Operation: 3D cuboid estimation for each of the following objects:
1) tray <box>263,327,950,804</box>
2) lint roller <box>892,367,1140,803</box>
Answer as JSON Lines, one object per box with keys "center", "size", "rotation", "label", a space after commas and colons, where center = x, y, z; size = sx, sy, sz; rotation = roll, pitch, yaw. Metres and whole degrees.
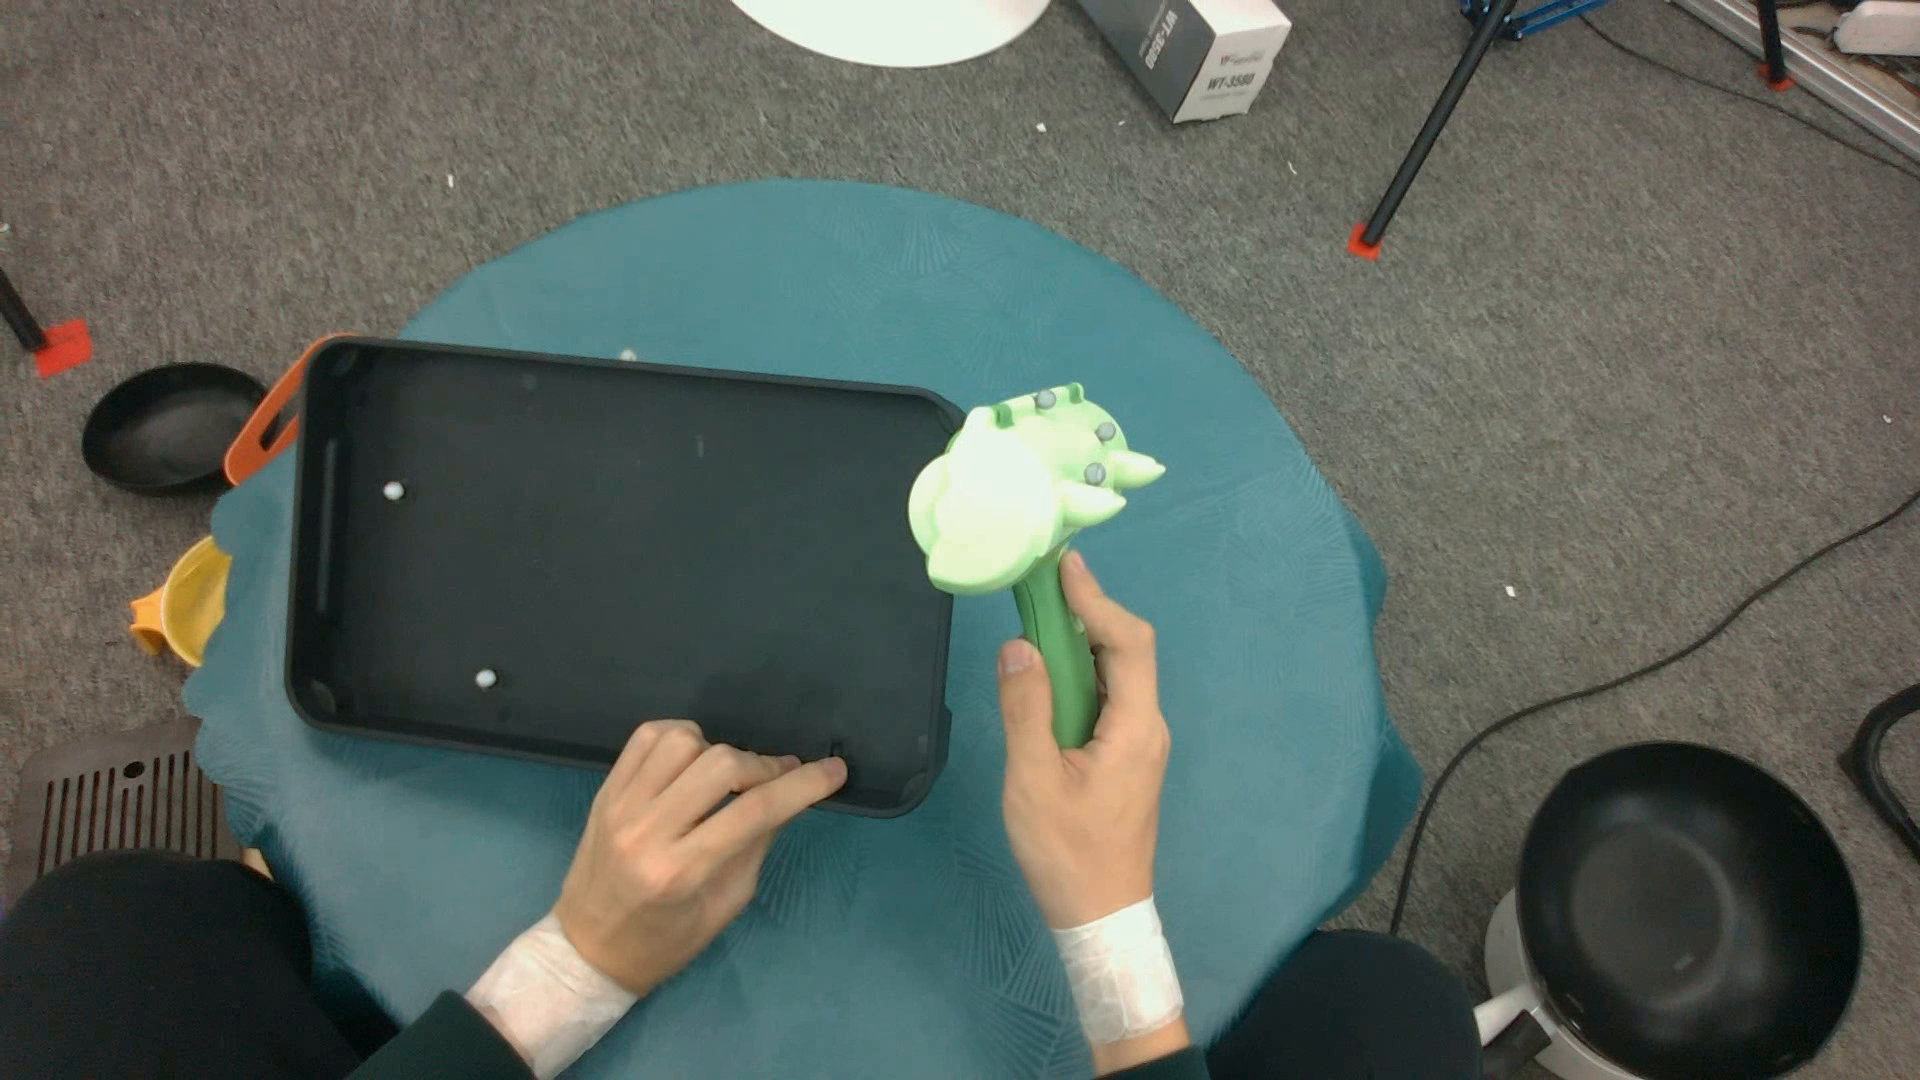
{"center": [-0.163, 0.006, 0.619], "size": [0.317, 0.037, 0.184], "rotation": [6, 95, 12], "label": "tray"}
{"center": [0.044, 0.020, 0.586], "size": [0.082, 0.199, 0.183], "rotation": [-16, 95, 16], "label": "lint roller"}
